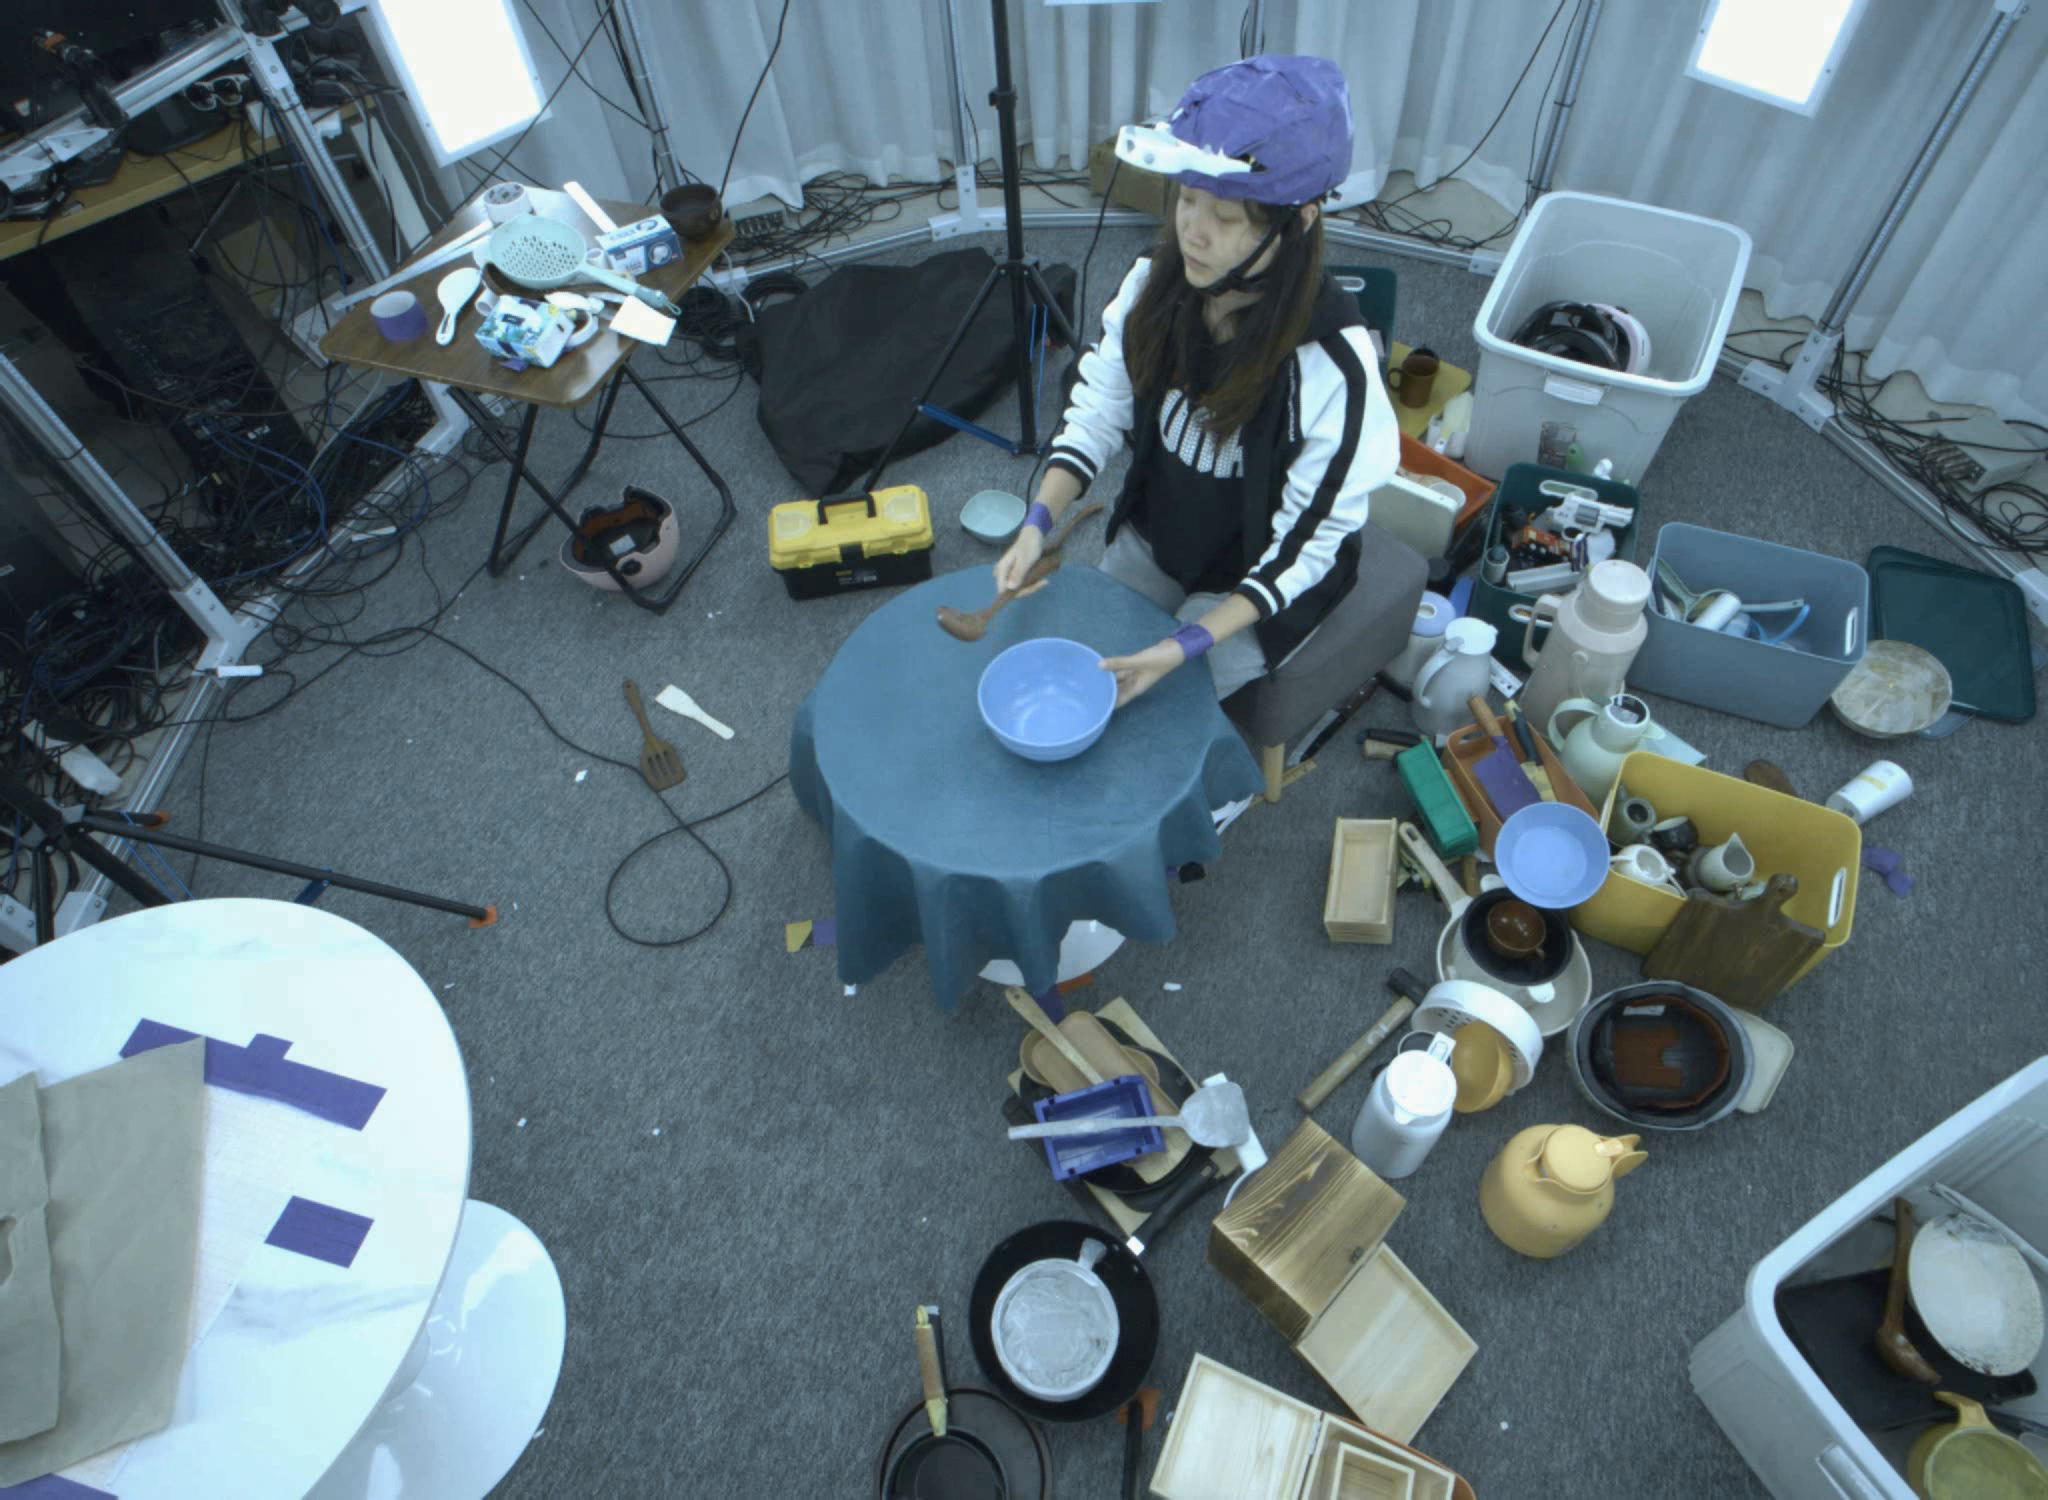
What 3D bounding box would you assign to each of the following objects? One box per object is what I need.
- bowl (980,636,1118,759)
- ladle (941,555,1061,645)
[{"bbox_3d":[0.042,-0.060,1.772,0.195,0.097,0.194,-4,53,7],"label":"bowl"},{"bbox_3d":[-0.022,-0.228,1.745,0.076,0.065,0.262,39,54,10],"label":"ladle"}]
